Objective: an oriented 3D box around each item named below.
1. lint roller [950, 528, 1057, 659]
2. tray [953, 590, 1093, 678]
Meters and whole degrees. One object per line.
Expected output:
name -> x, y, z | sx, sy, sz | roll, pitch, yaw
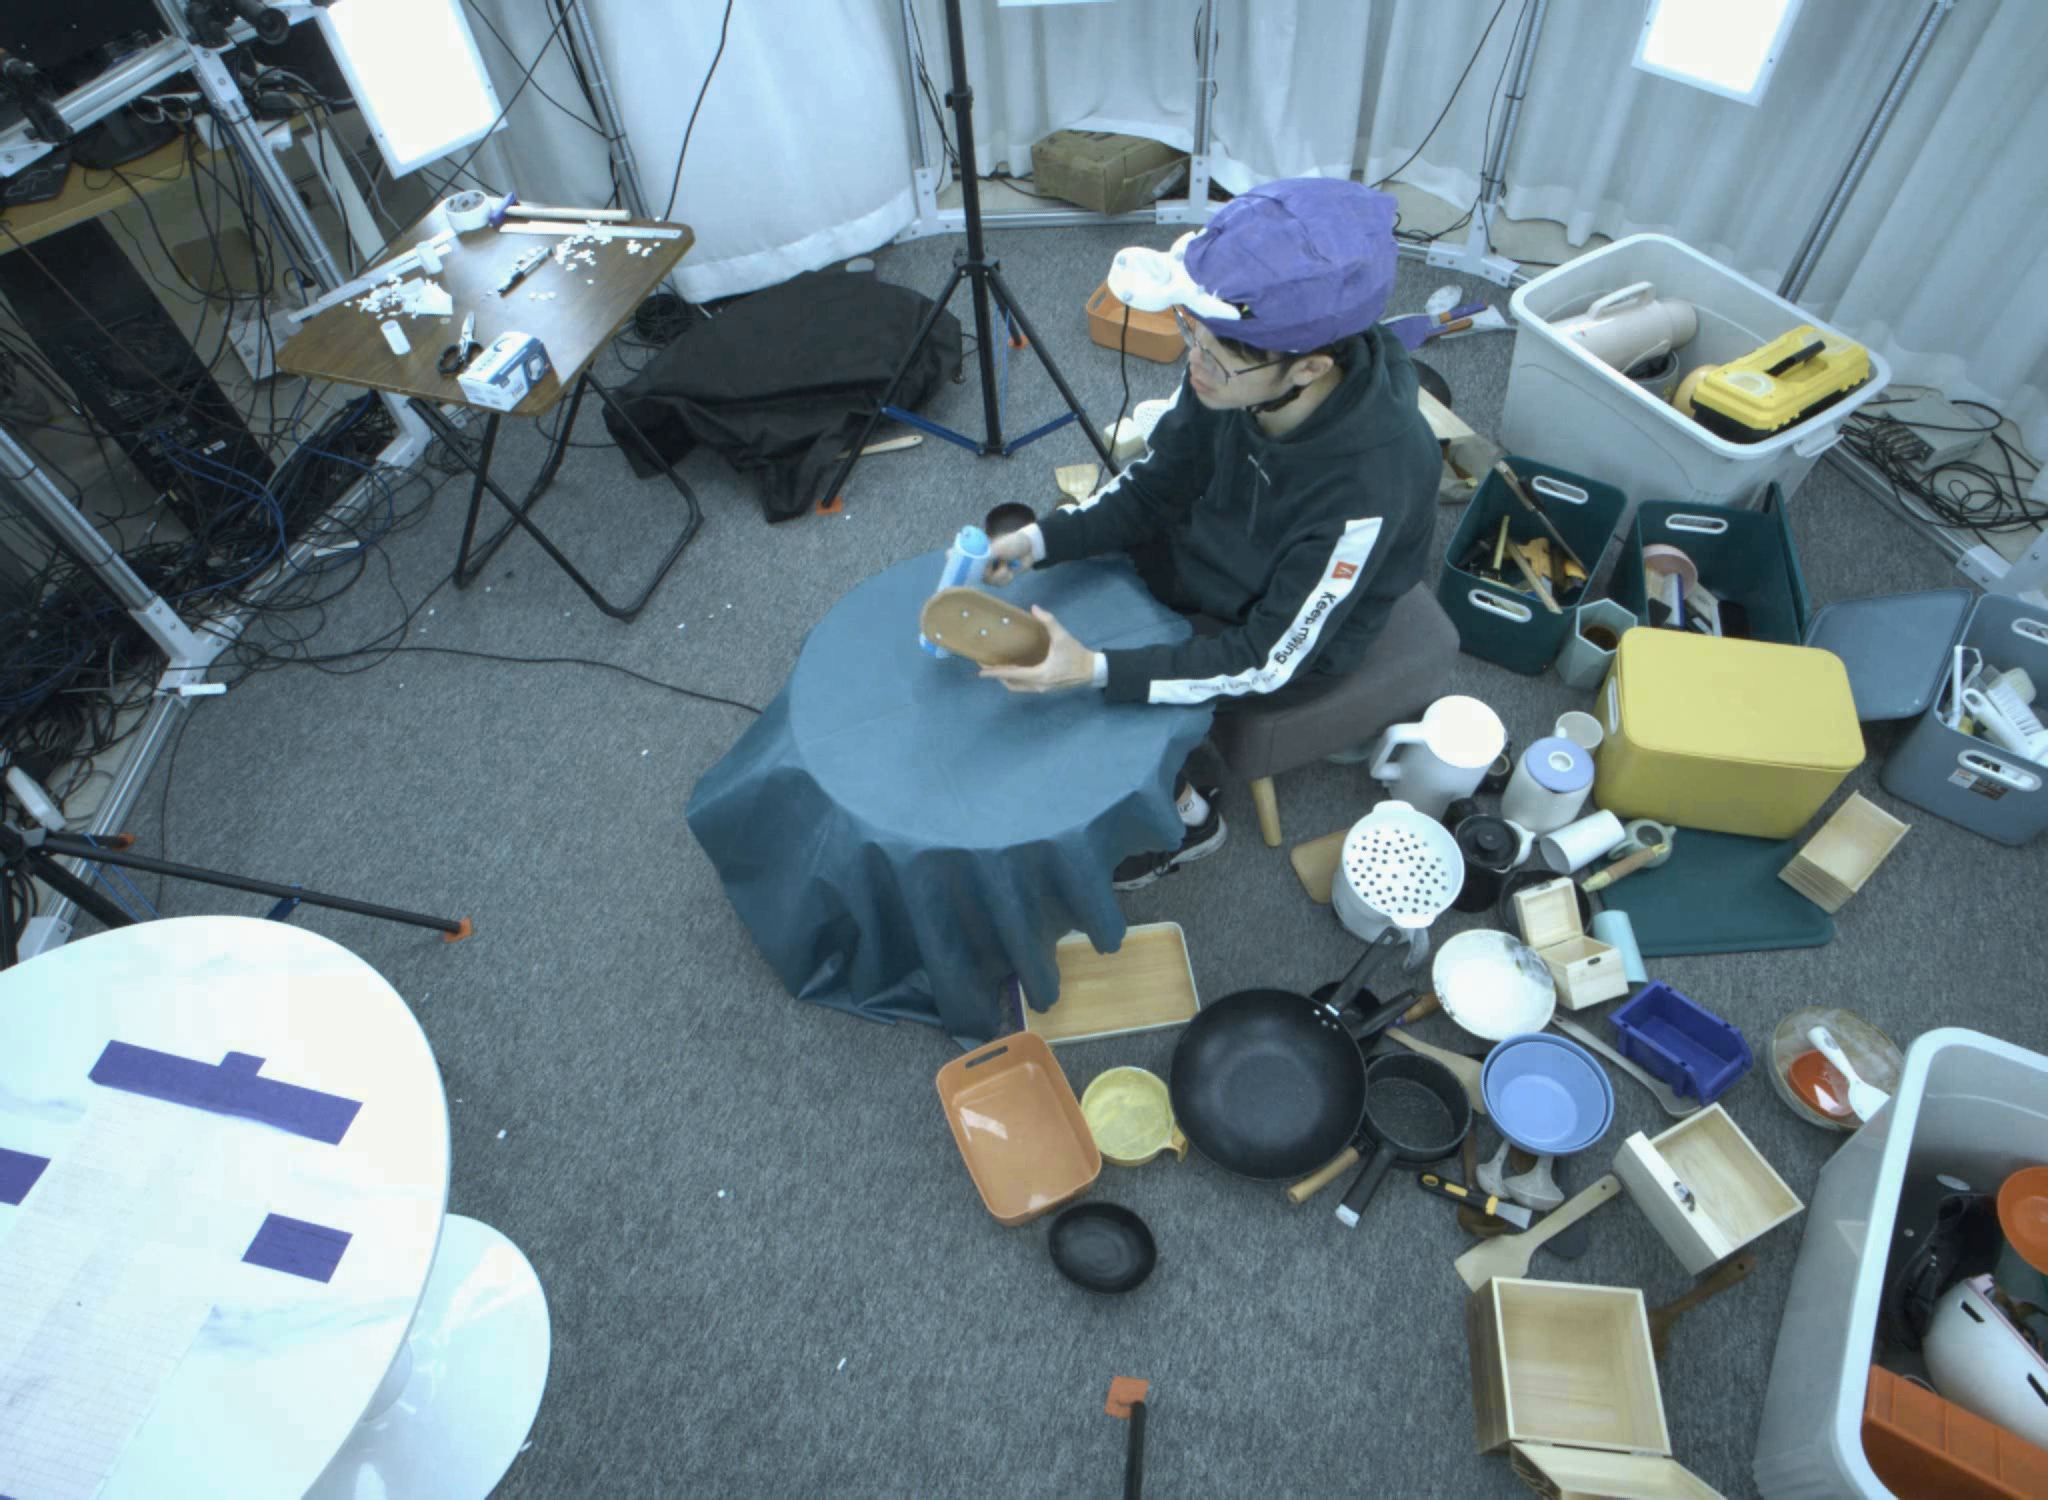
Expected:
lint roller -> -0.025, -0.245, 1.803 | 0.067, 0.229, 0.182 | 36, 42, 11
tray -> 0.001, -0.163, 1.731 | 0.237, 0.101, 0.020 | 17, 37, -40
